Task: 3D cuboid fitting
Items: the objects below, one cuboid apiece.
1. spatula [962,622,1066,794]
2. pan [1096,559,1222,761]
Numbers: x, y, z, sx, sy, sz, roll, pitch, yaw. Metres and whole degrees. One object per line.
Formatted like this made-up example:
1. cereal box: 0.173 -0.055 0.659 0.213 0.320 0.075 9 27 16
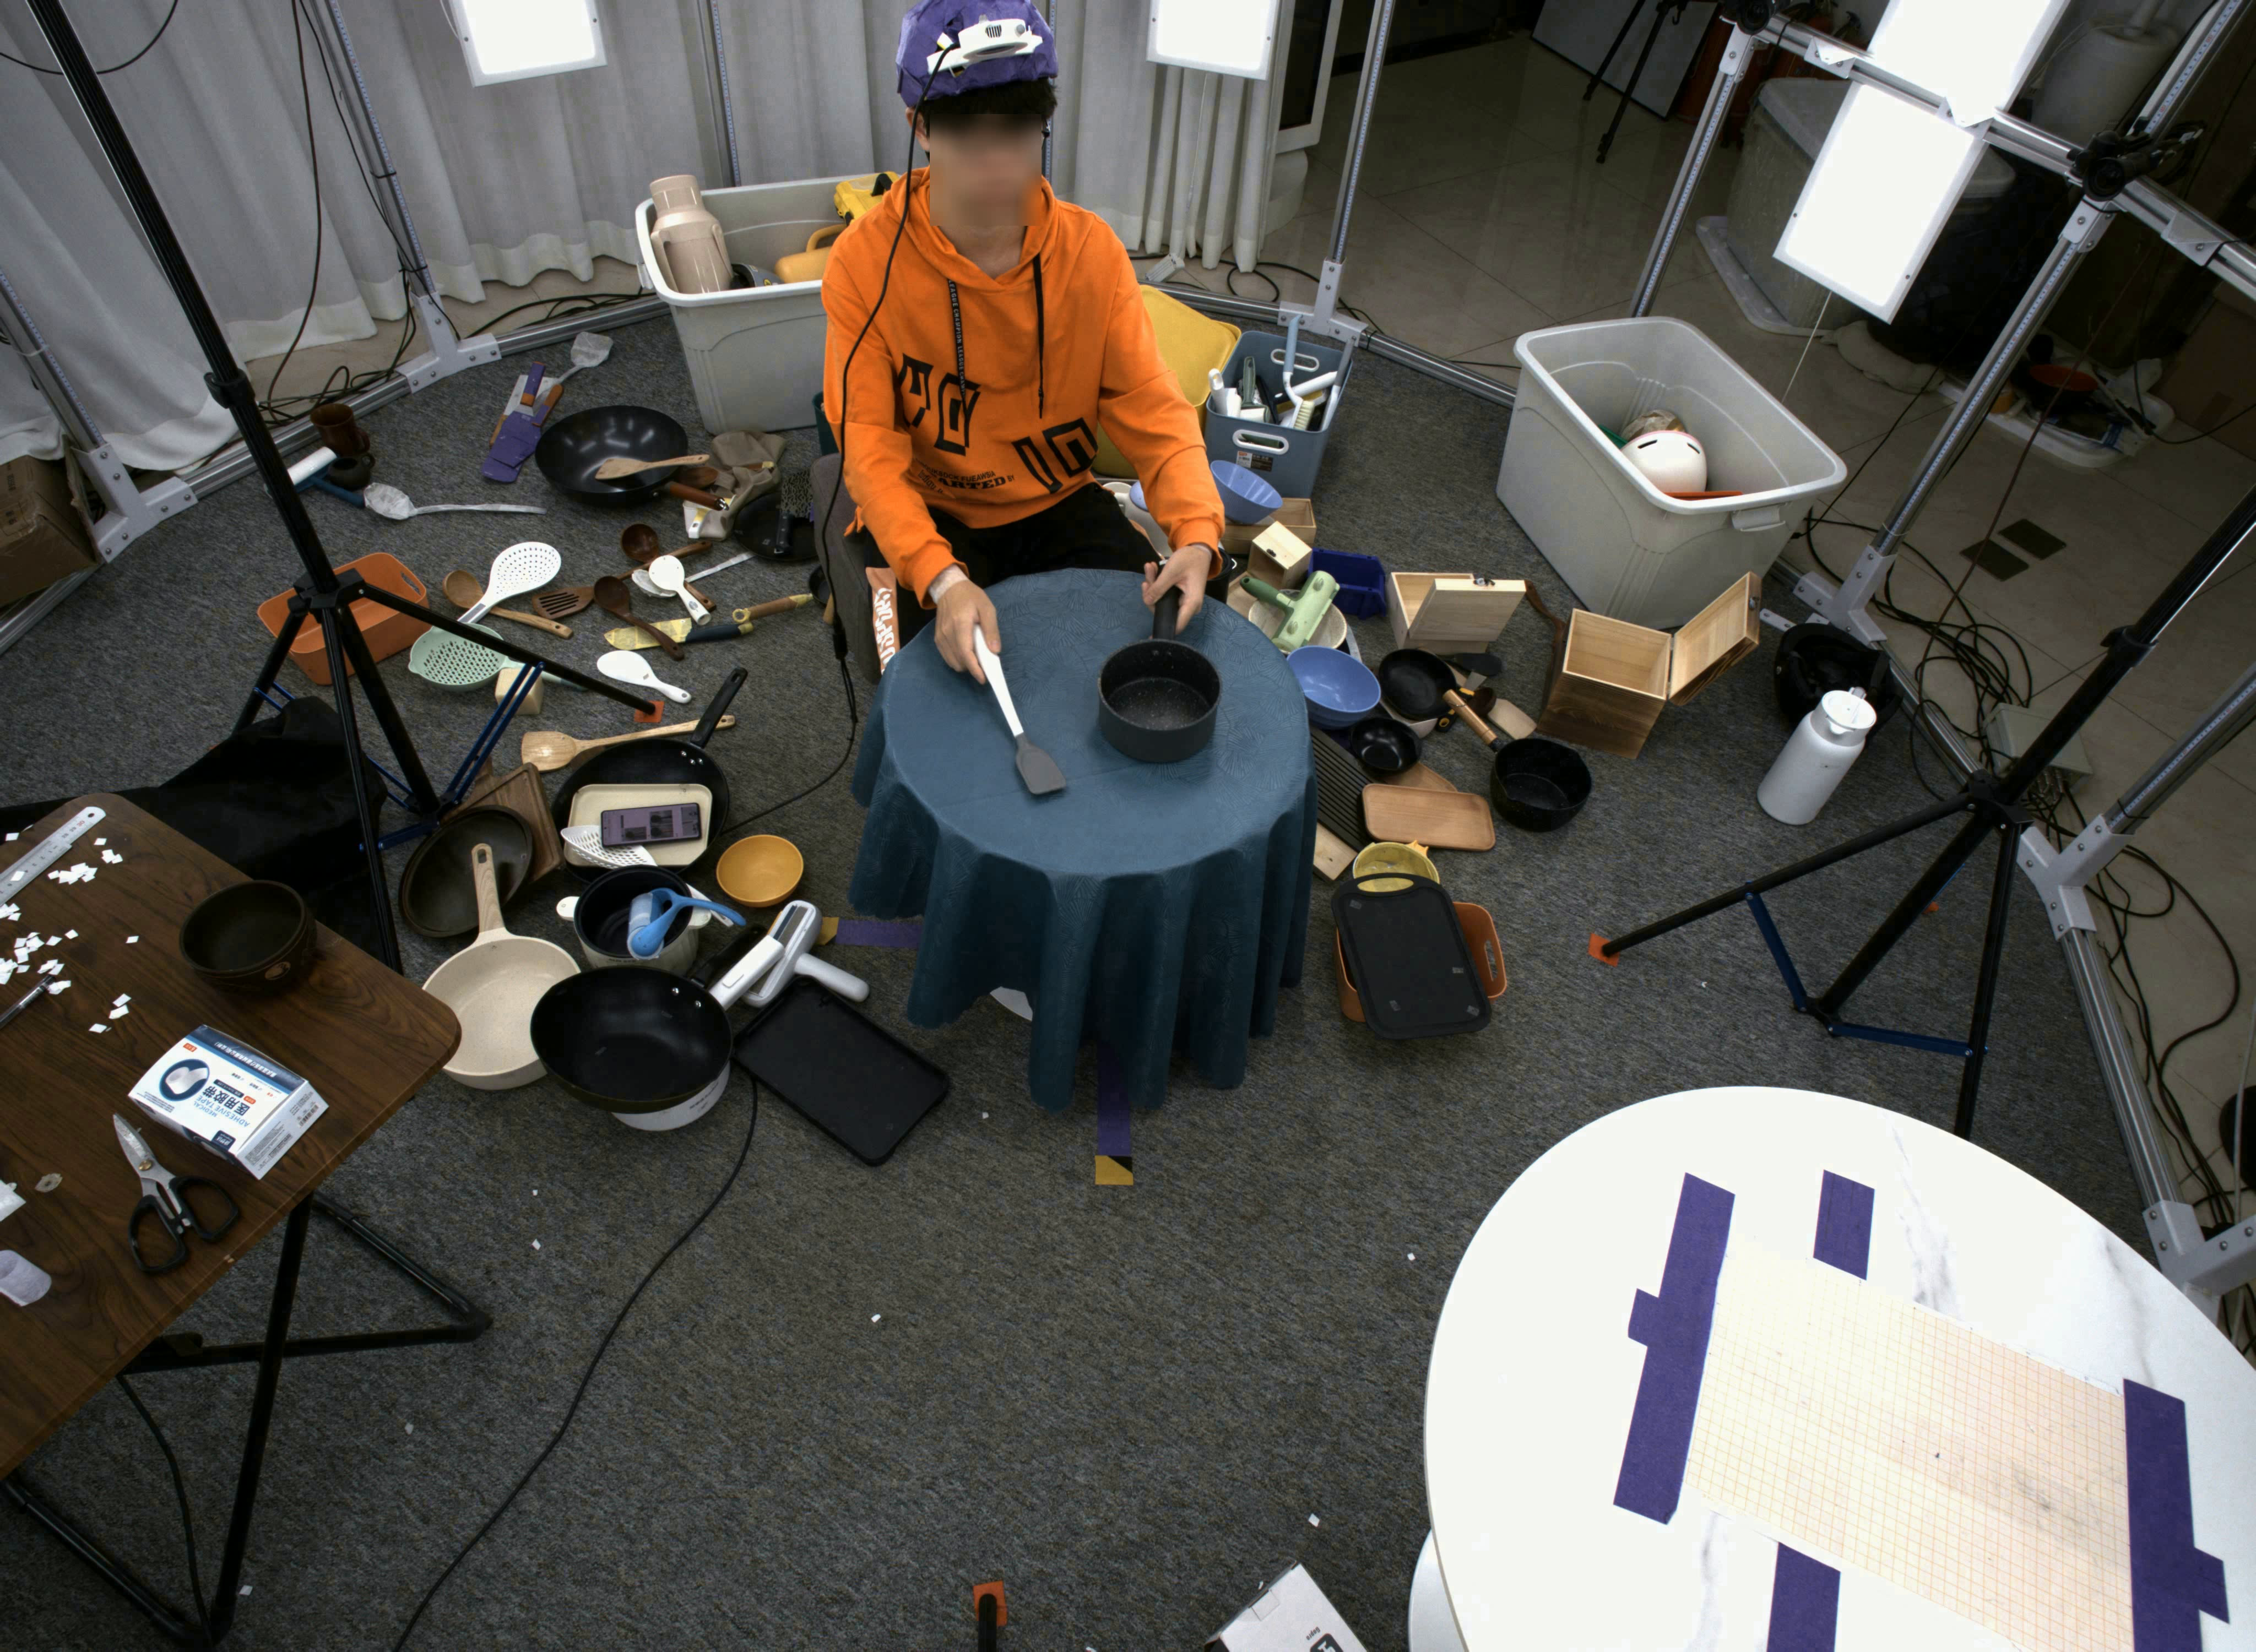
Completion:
1. spatula: -0.162 -0.160 1.751 0.059 0.031 0.293 -13 61 -25
2. pan: 0.051 -0.237 1.816 0.172 0.084 0.336 6 52 3
